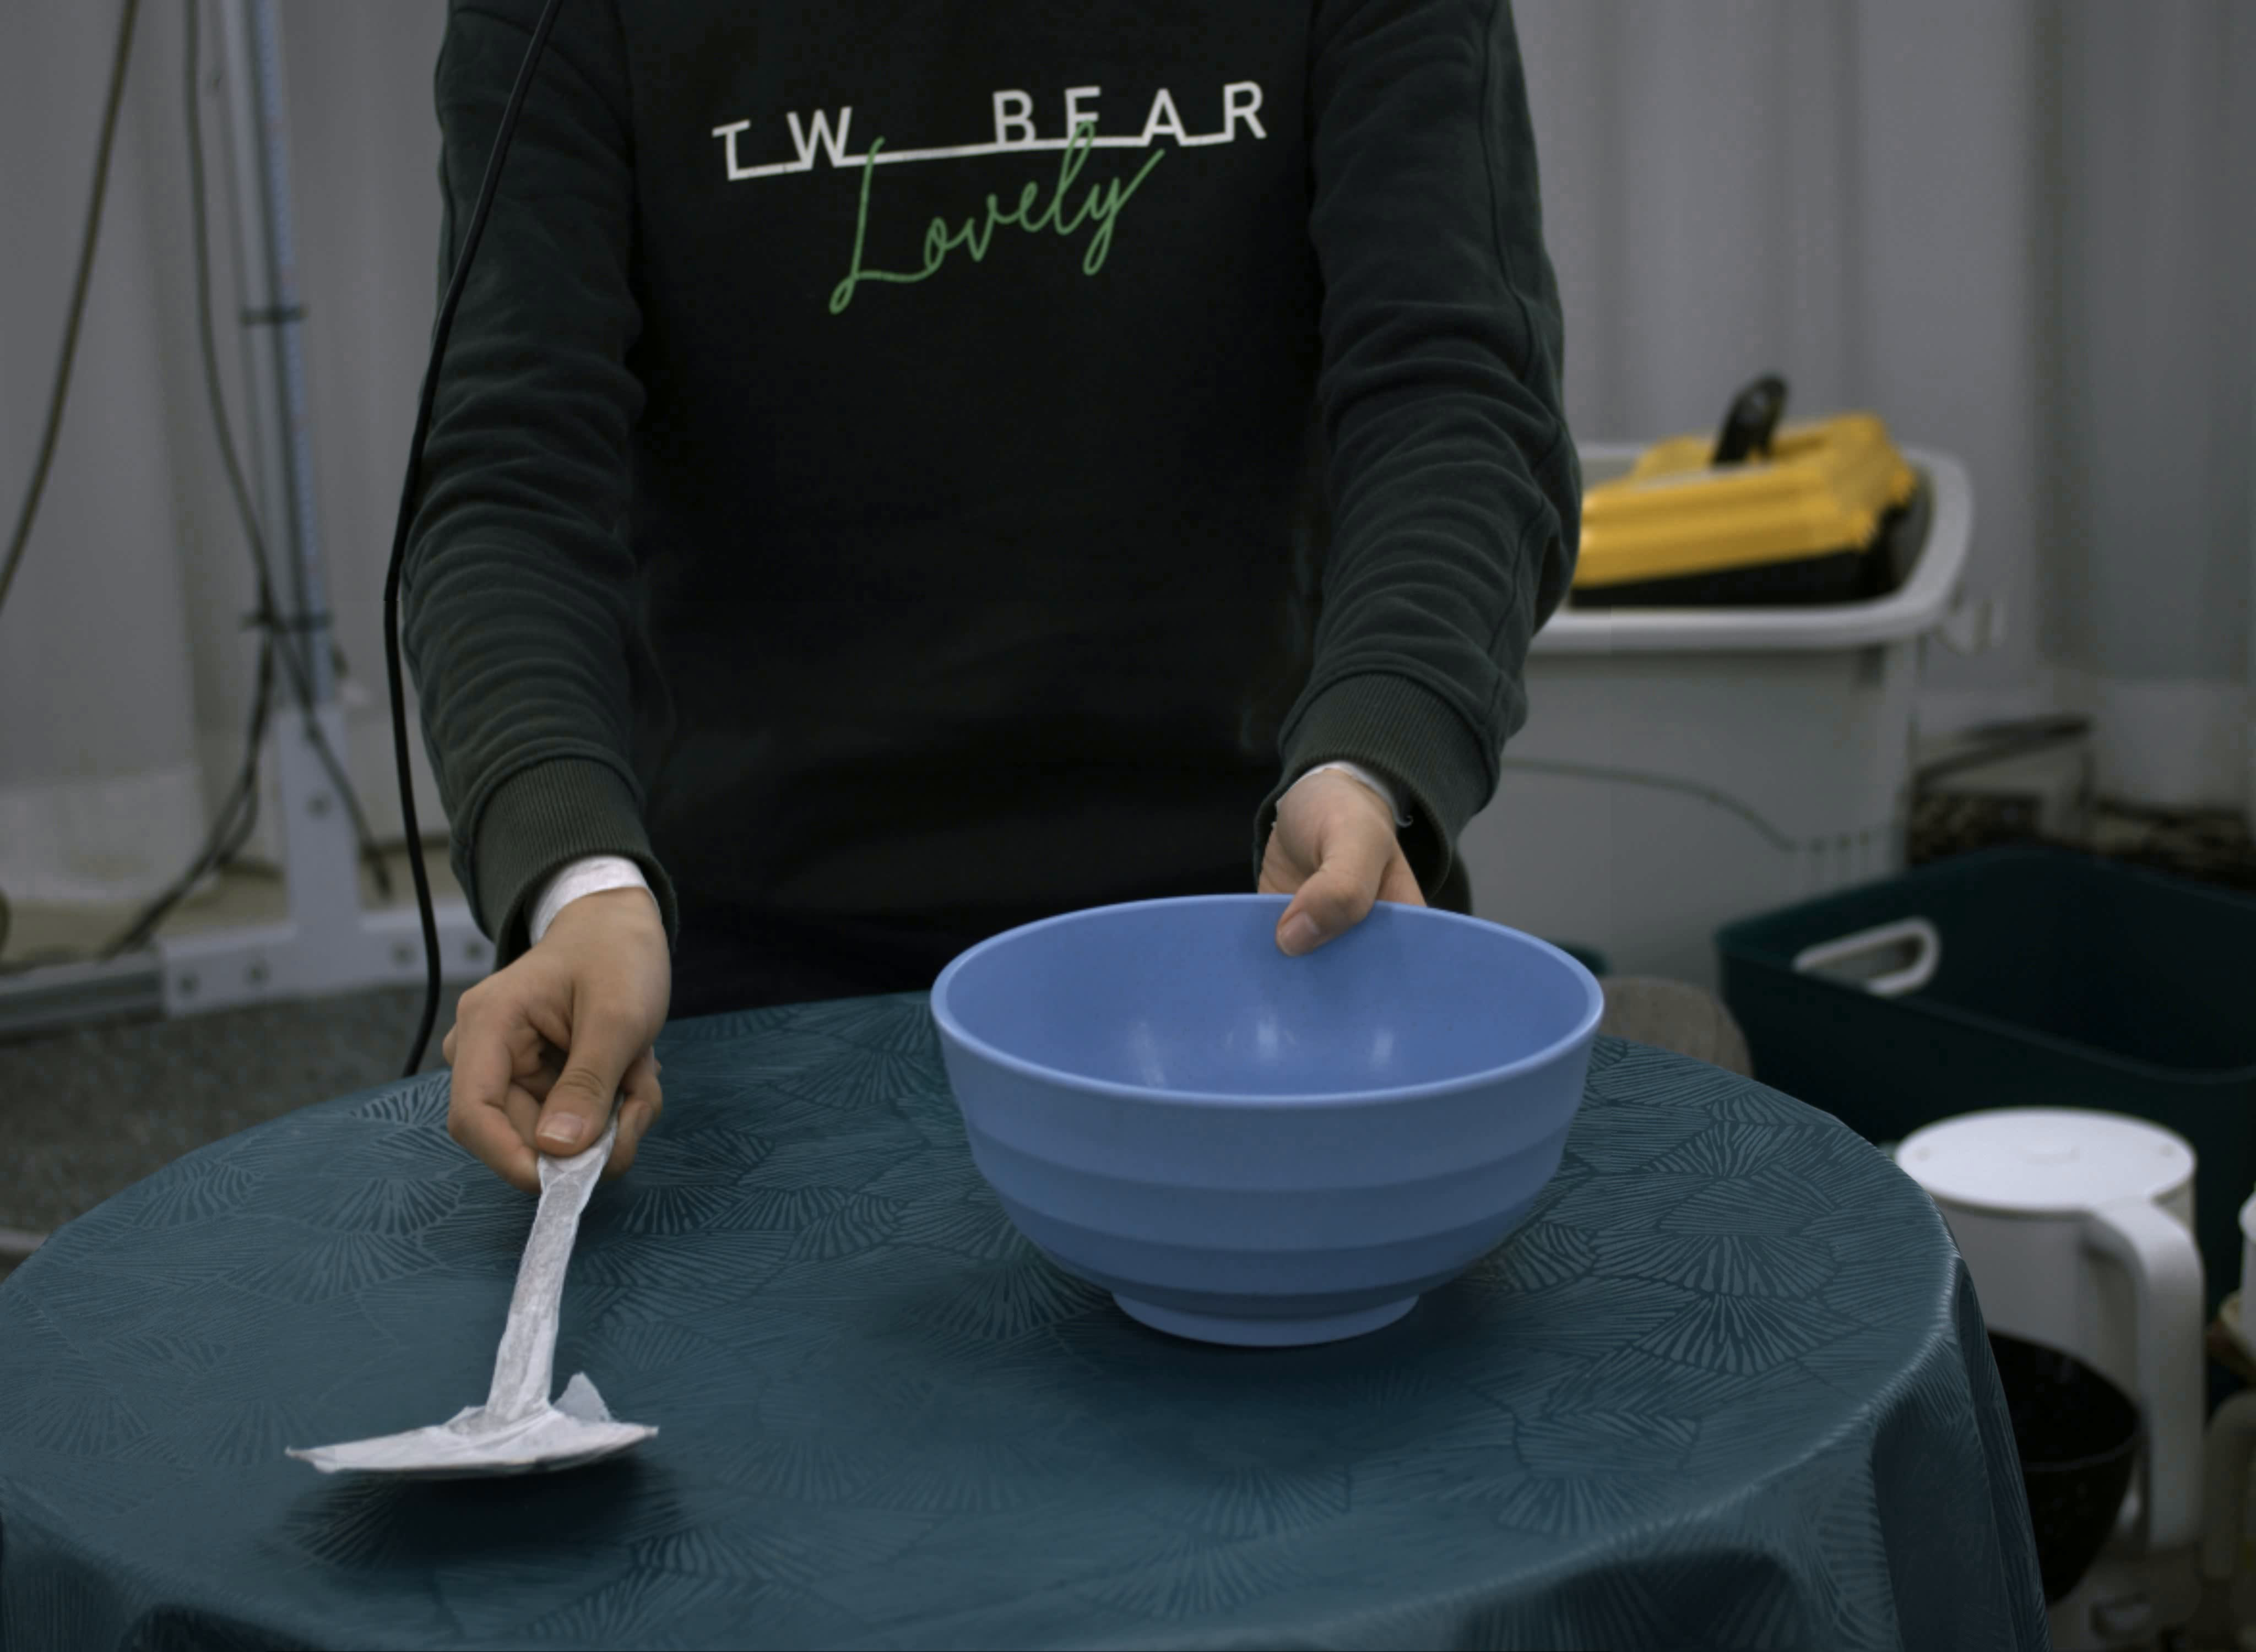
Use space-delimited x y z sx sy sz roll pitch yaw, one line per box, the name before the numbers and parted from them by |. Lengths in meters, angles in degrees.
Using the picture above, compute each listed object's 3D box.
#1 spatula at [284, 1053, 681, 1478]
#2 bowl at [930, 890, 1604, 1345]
spatula | -0.167 0.121 1.608 0.098 0.044 0.368 -5 20 5
bowl | 0.041 0.091 1.600 0.196 0.095 0.198 -1 16 0
